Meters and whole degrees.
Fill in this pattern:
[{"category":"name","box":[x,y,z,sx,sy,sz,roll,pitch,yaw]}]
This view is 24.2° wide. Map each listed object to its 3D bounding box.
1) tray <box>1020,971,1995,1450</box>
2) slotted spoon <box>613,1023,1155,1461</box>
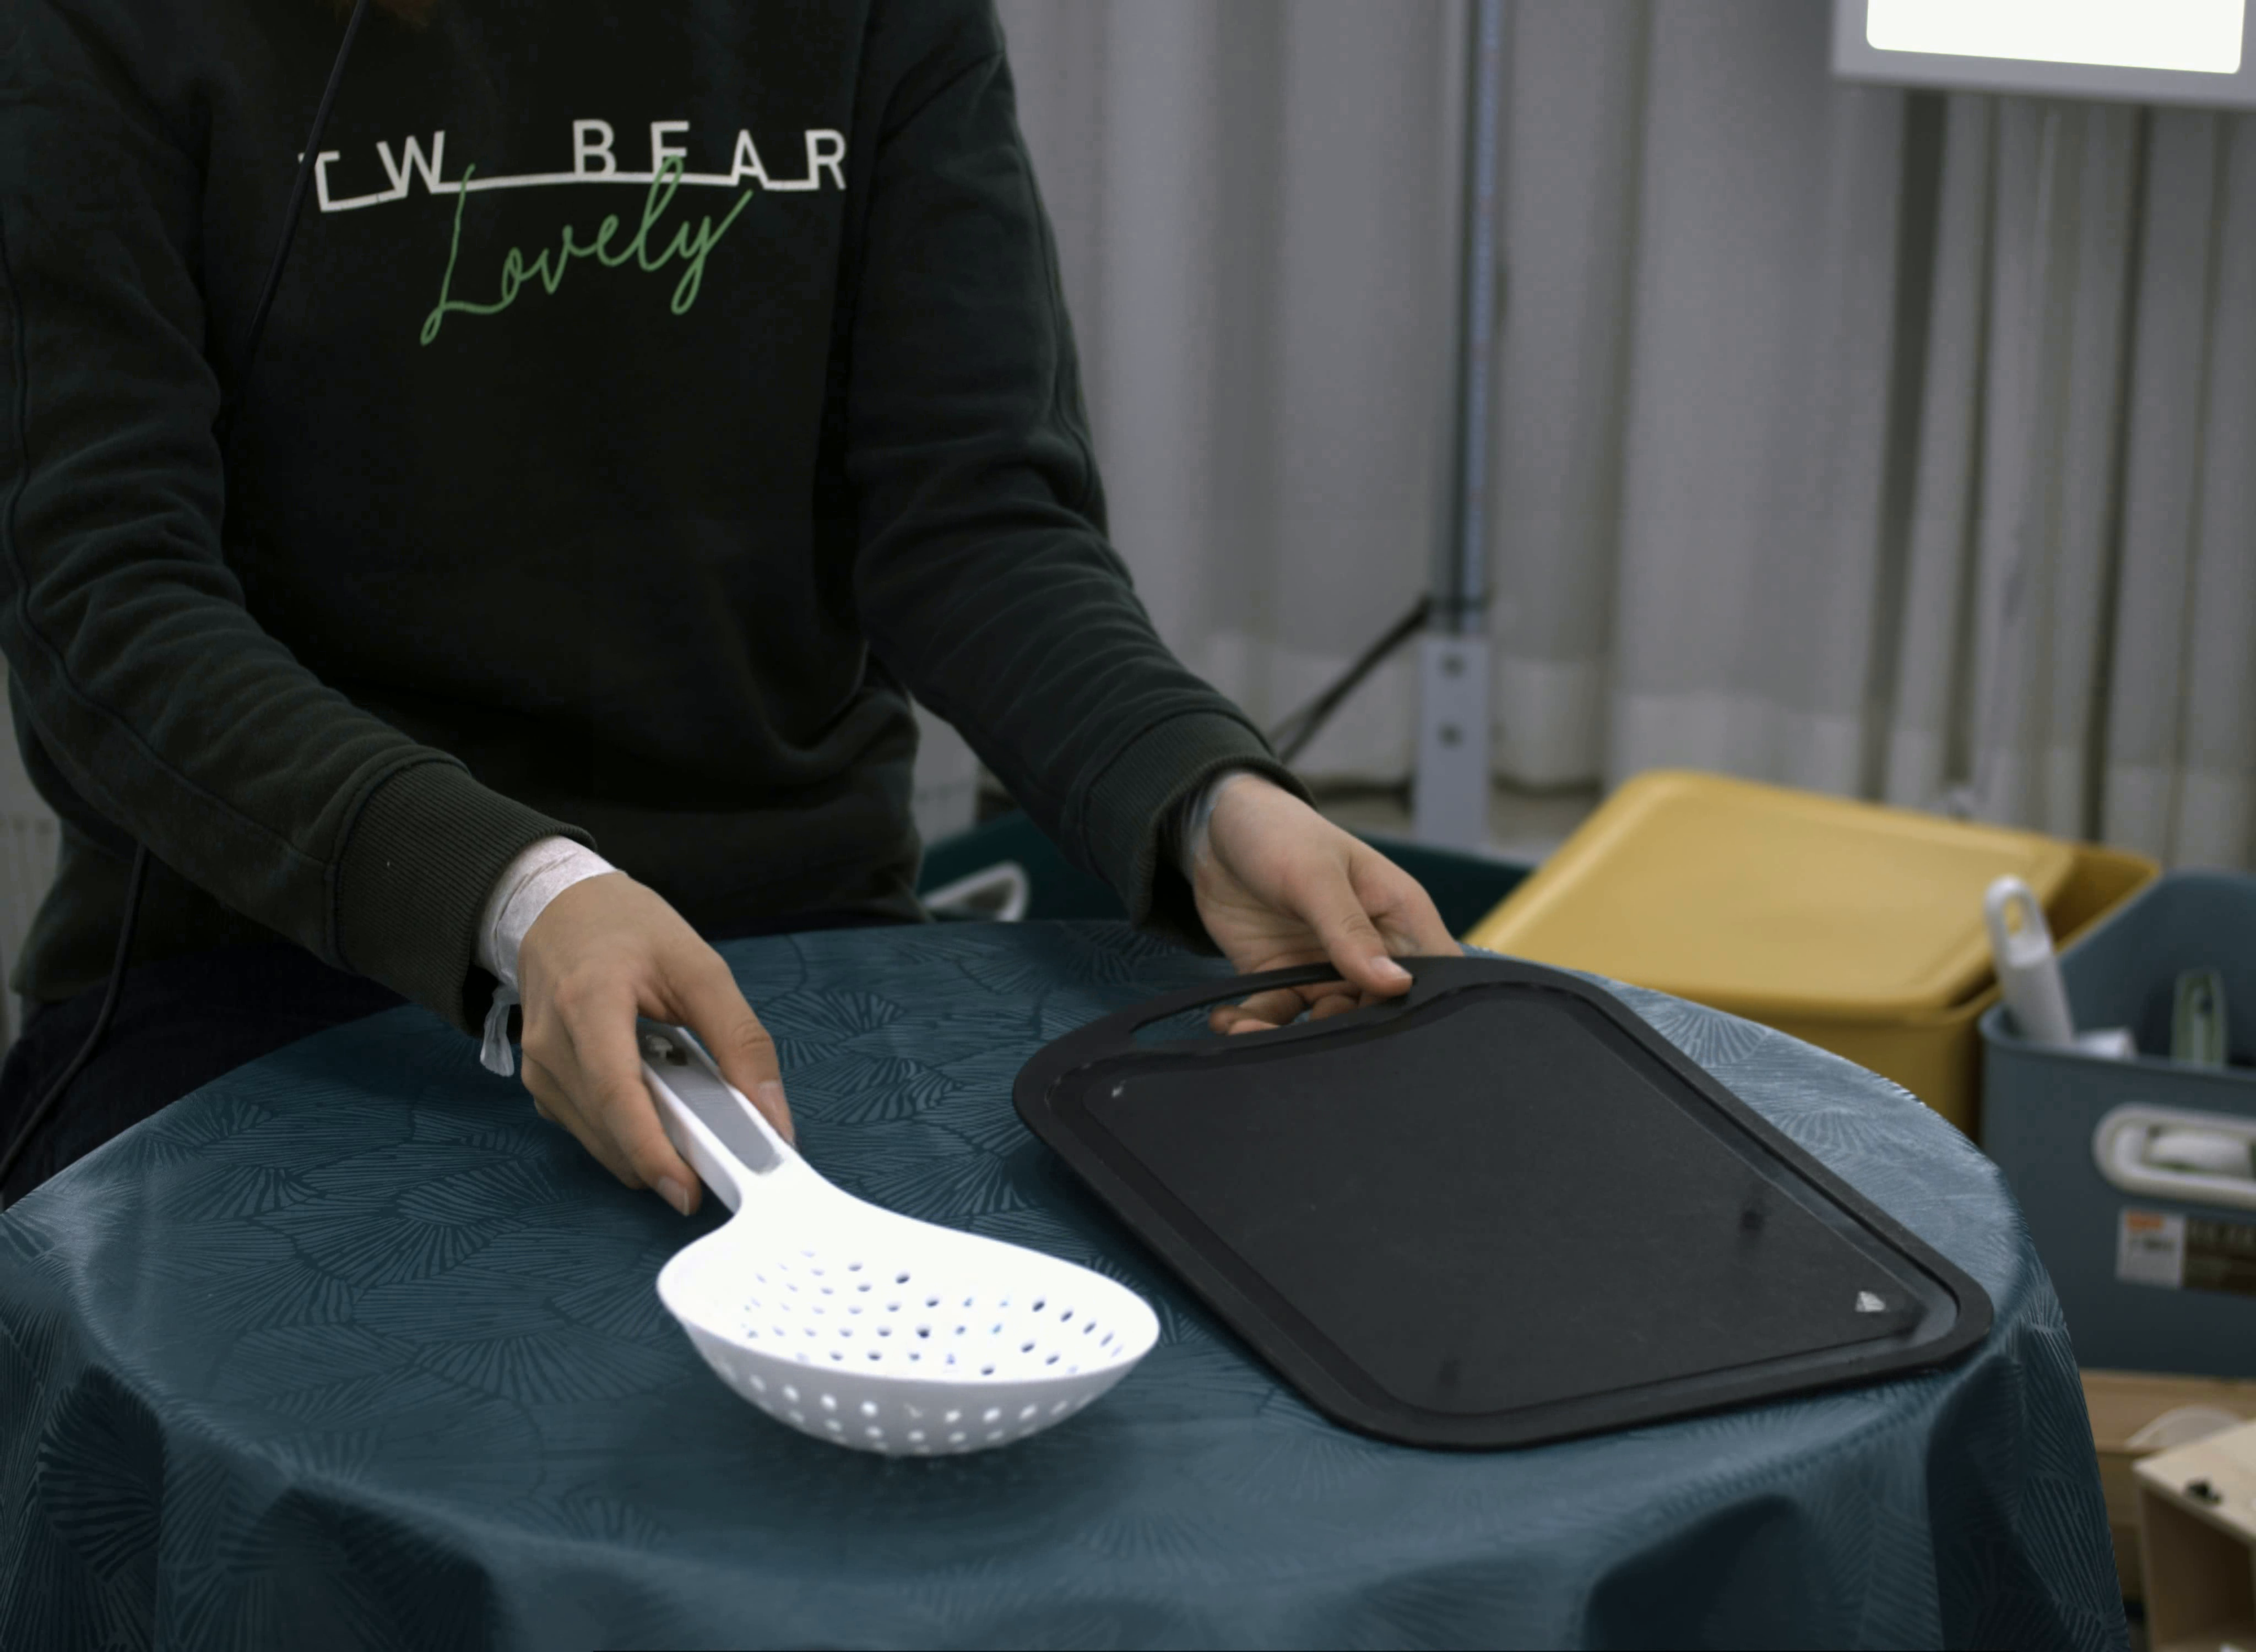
[{"category":"tray","box":[0.103,0.106,1.587,0.212,0.010,0.321,-8,23,-22]},{"category":"slotted spoon","box":[-0.096,0.111,1.517,0.136,0.046,0.345,3,18,-21]}]
